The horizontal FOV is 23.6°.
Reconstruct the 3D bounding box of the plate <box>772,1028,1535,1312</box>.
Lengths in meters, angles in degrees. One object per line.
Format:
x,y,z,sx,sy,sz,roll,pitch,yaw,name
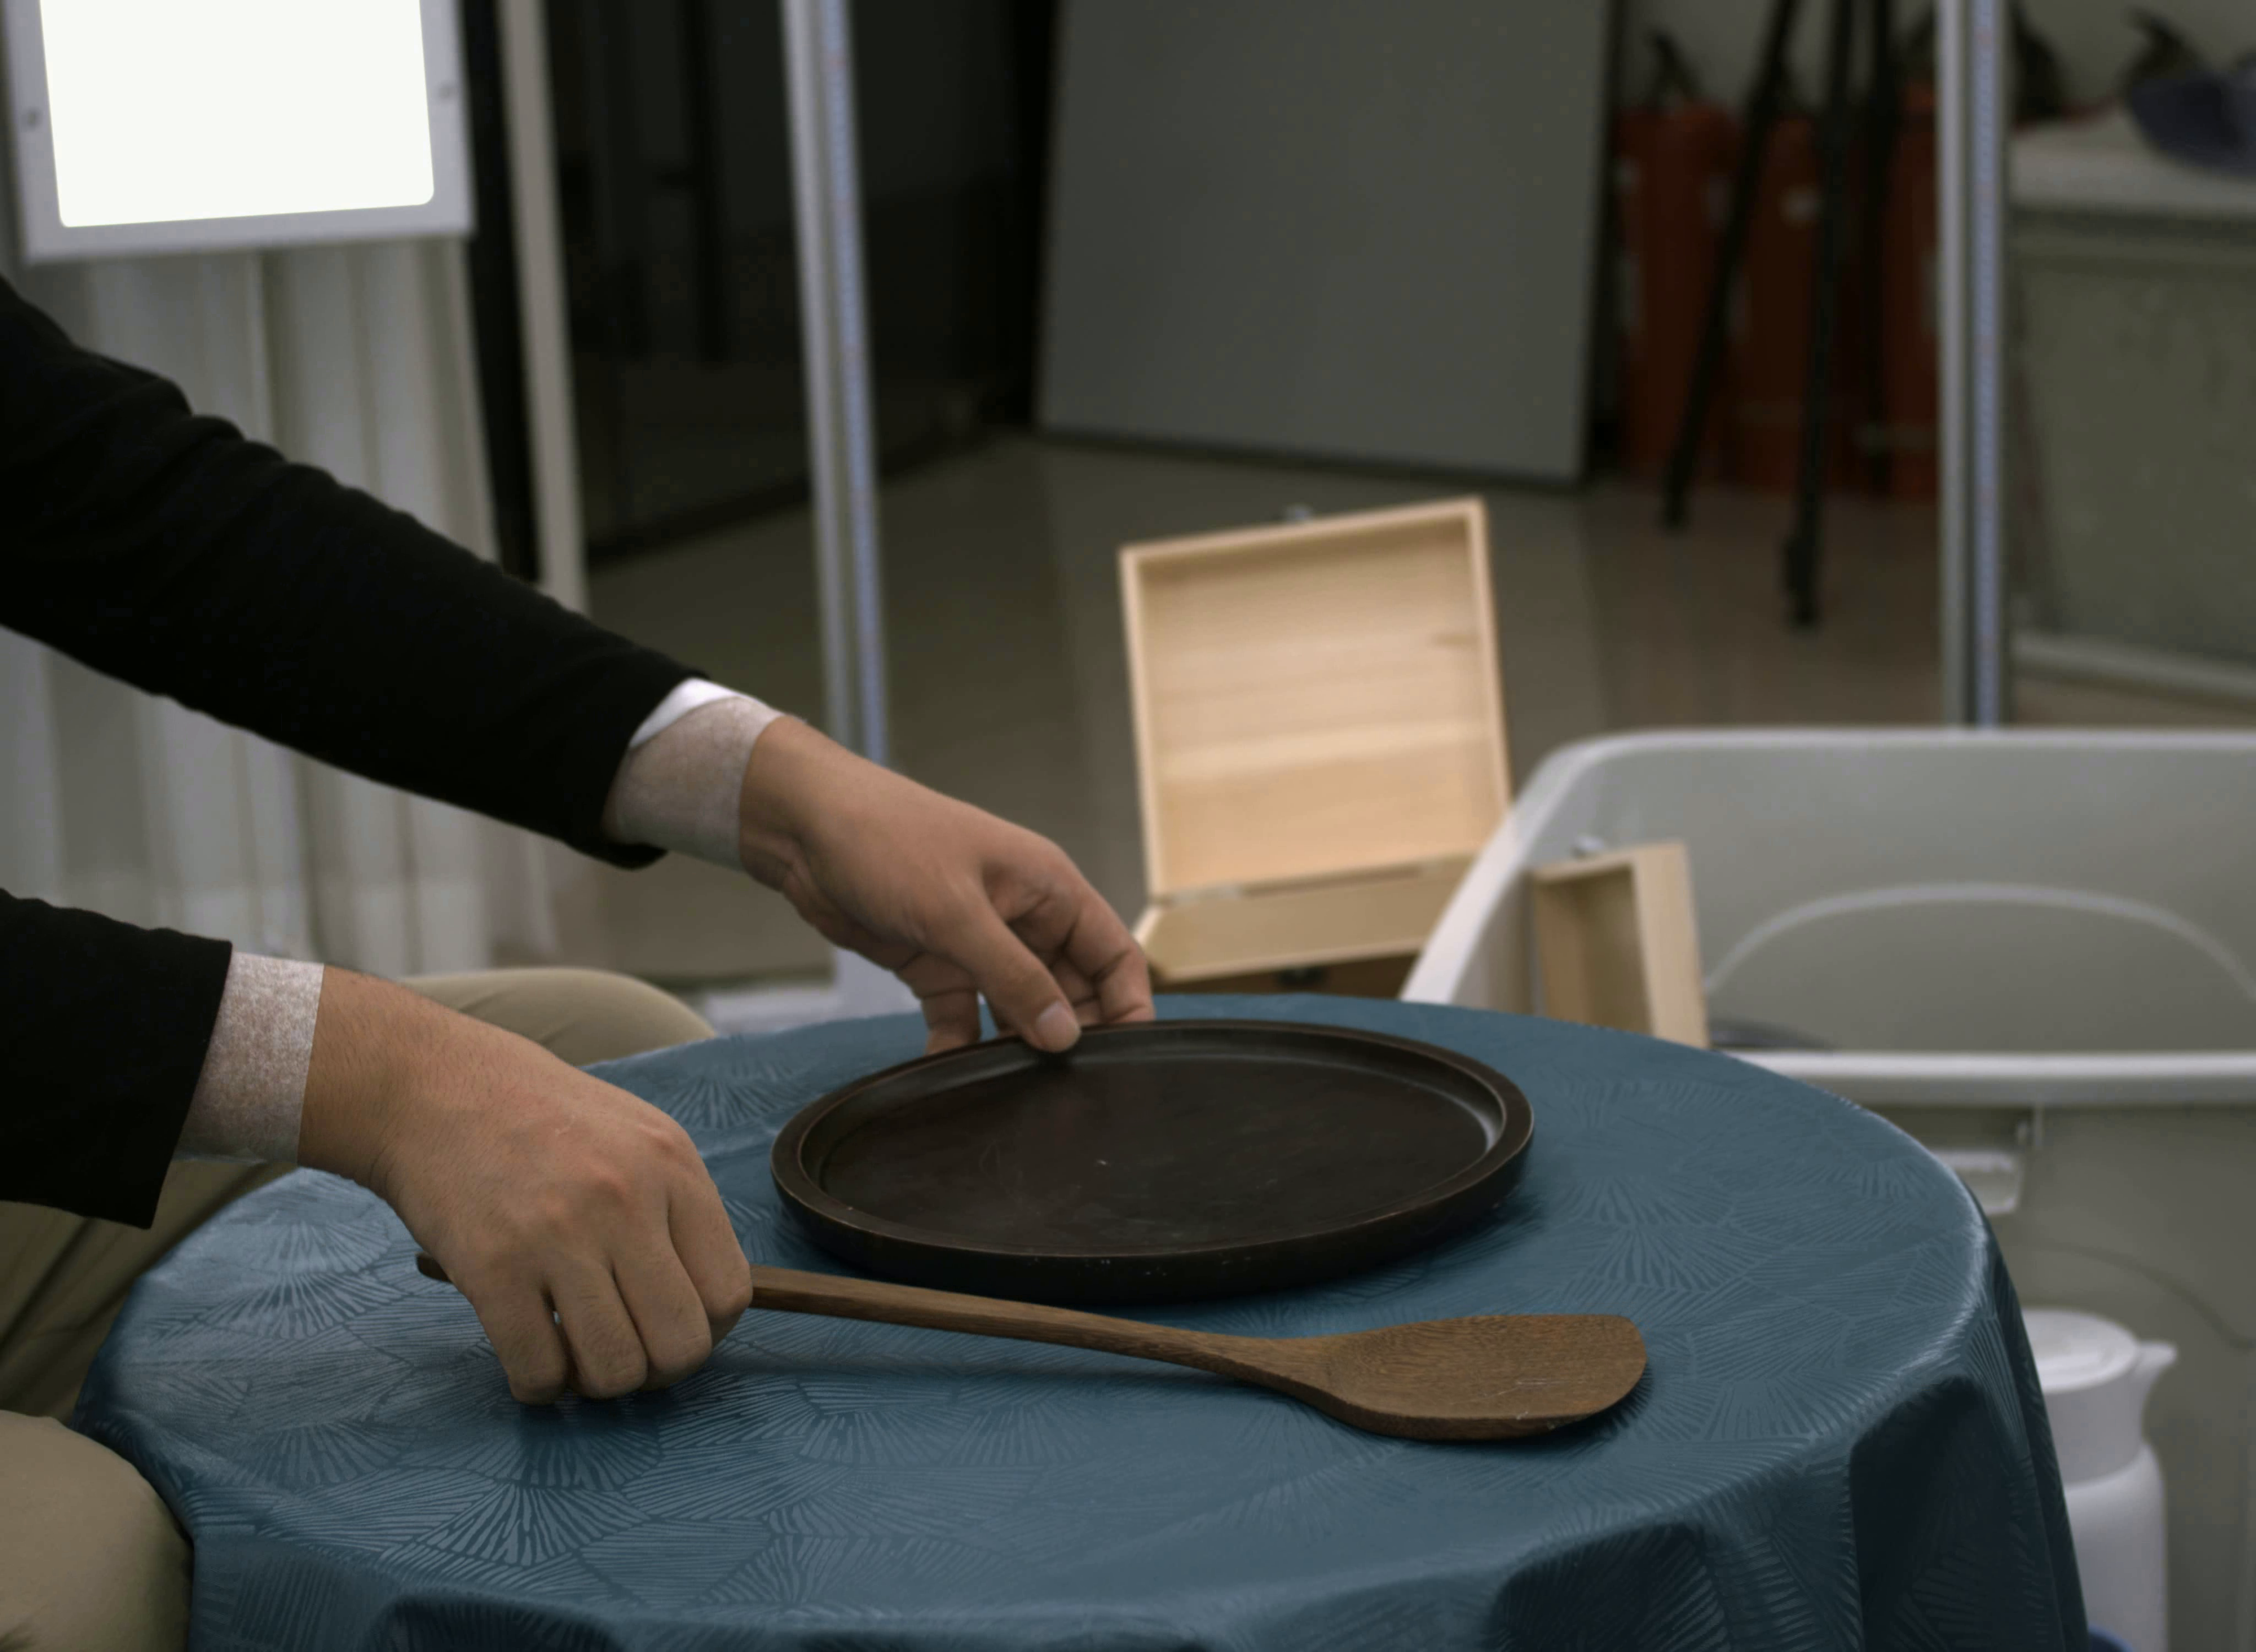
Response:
0.009,0.109,1.764,0.251,0.029,0.255,-5,15,0,plate

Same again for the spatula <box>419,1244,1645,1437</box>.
-0.035,0.148,1.606,0.385,0.016,0.095,4,15,18,spatula
